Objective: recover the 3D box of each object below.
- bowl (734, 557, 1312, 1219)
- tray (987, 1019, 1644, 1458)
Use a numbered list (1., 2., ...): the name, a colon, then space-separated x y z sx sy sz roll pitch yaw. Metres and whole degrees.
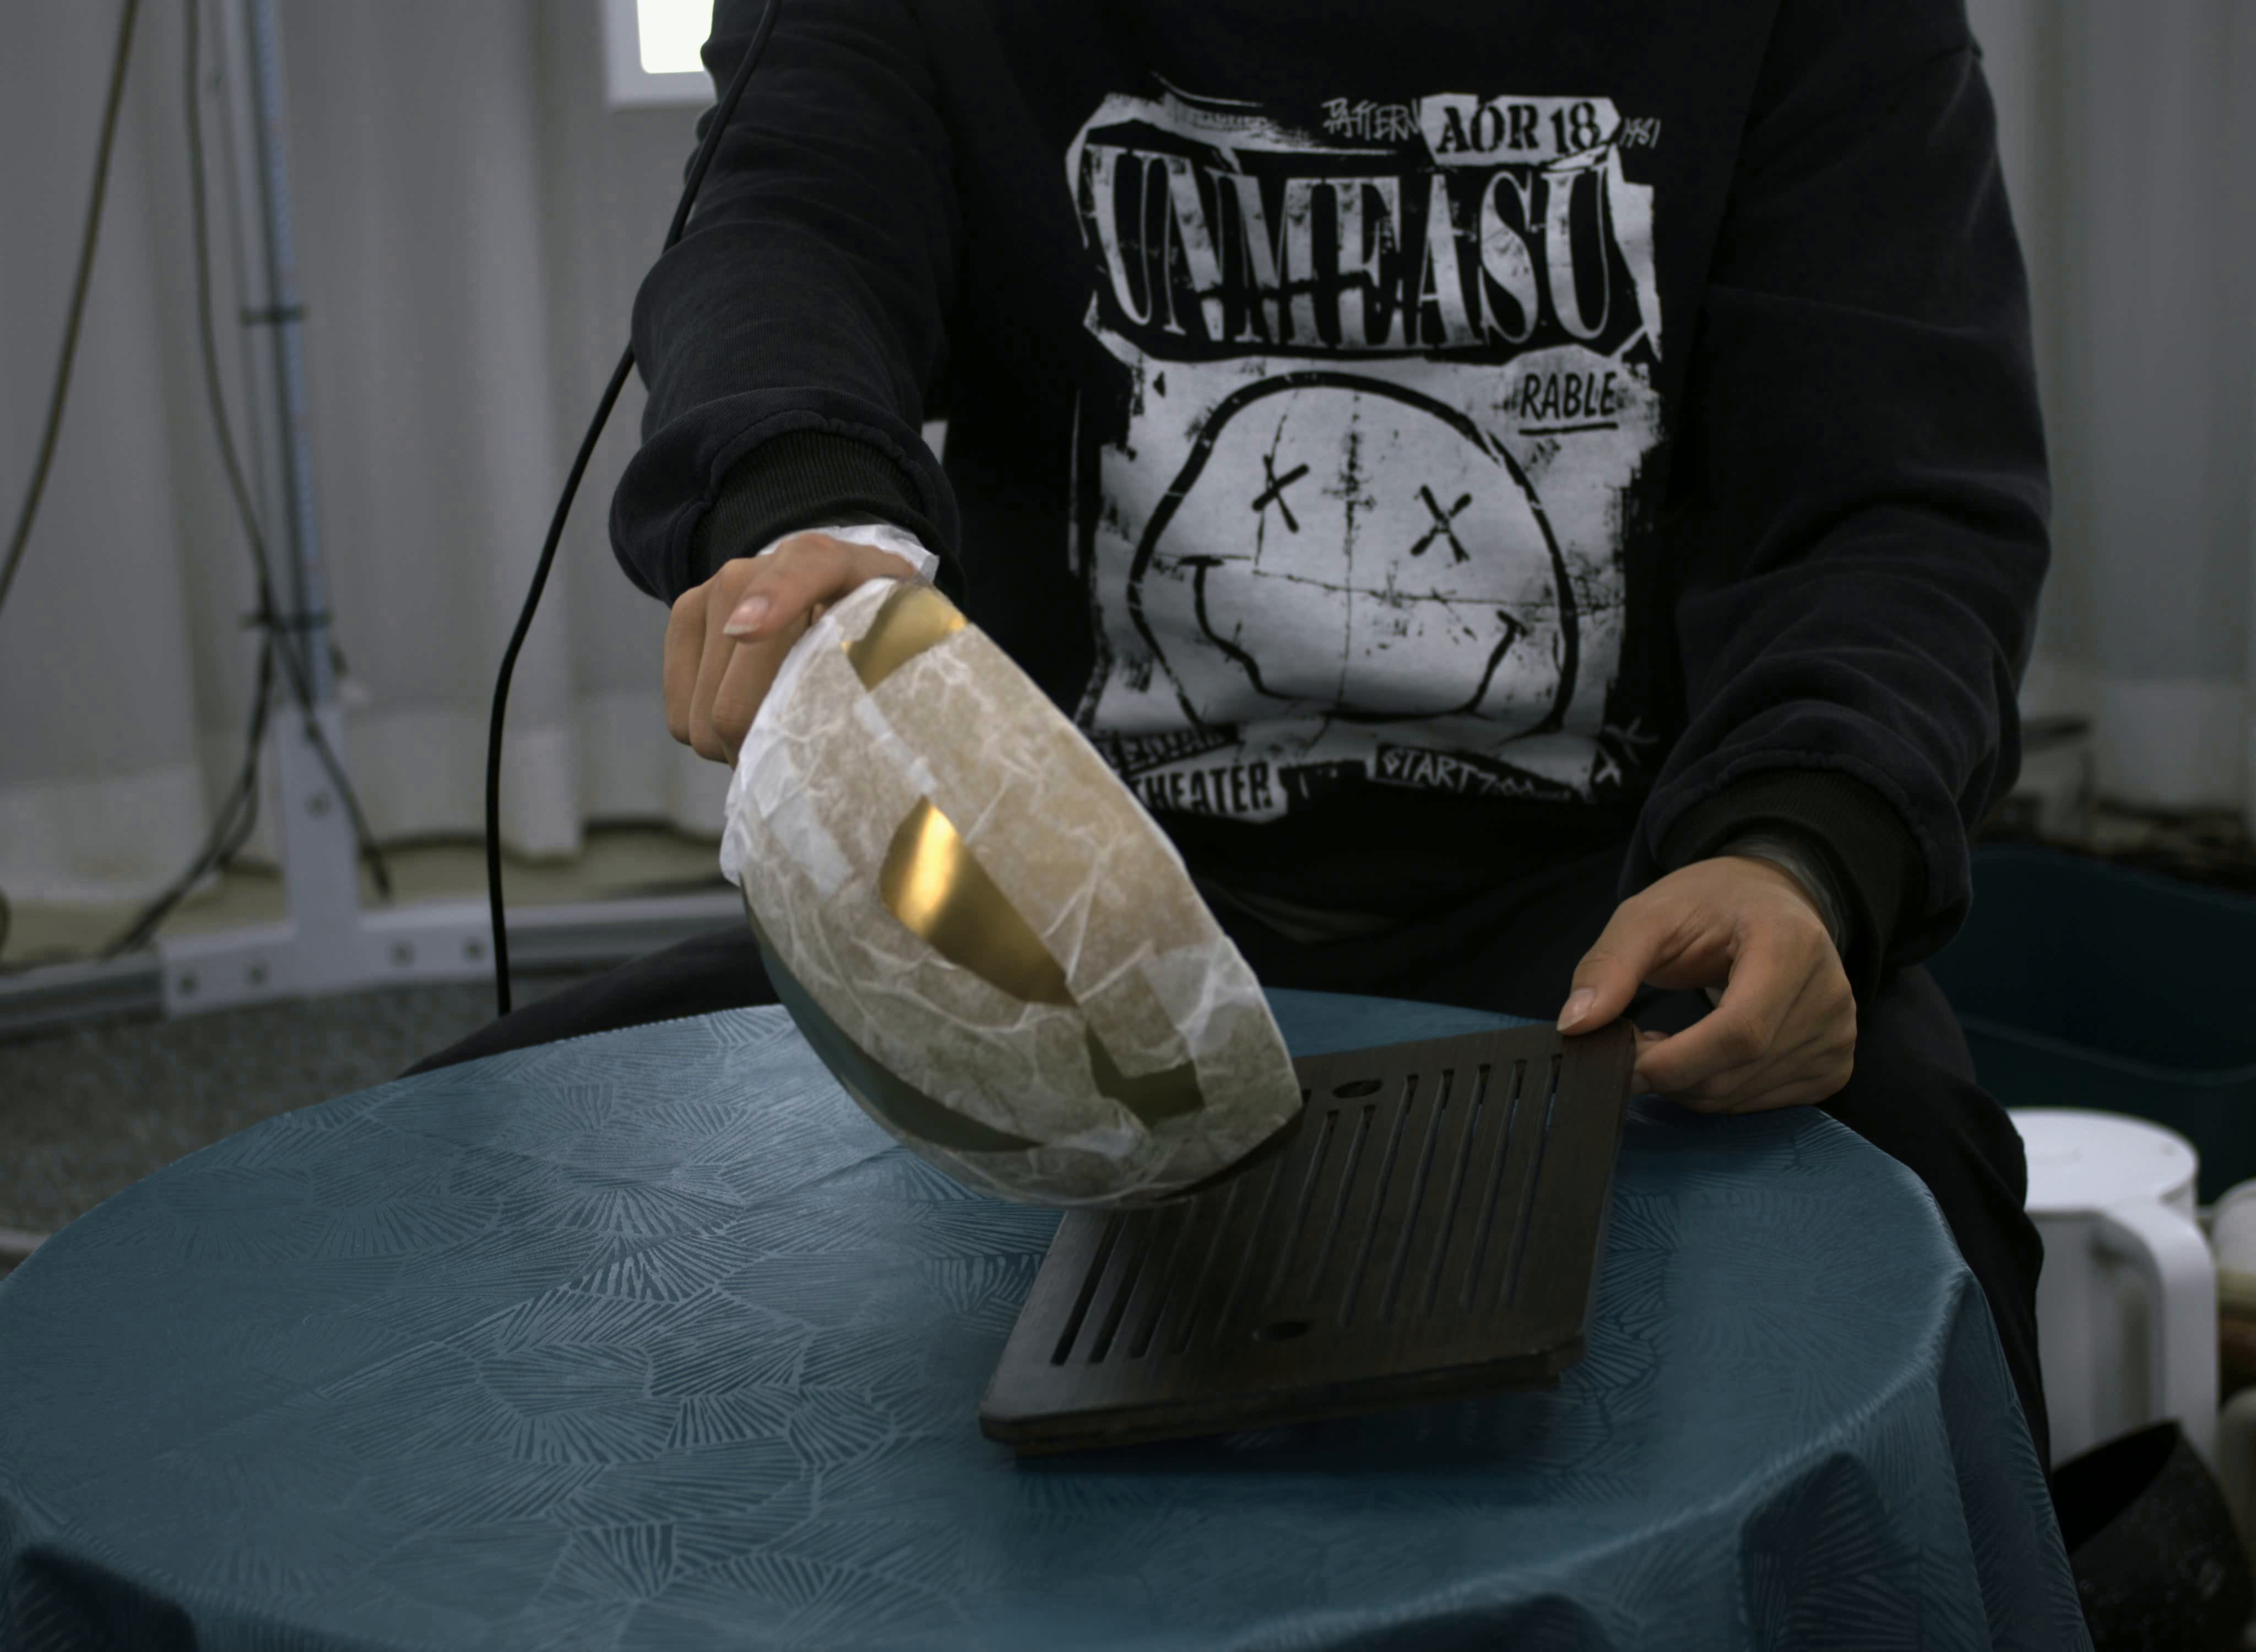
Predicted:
1. bowl: -0.046 0.037 1.538 0.094 0.213 0.216 -37 25 -12
2. tray: 0.063 0.119 1.613 0.170 0.018 0.307 -8 14 10
